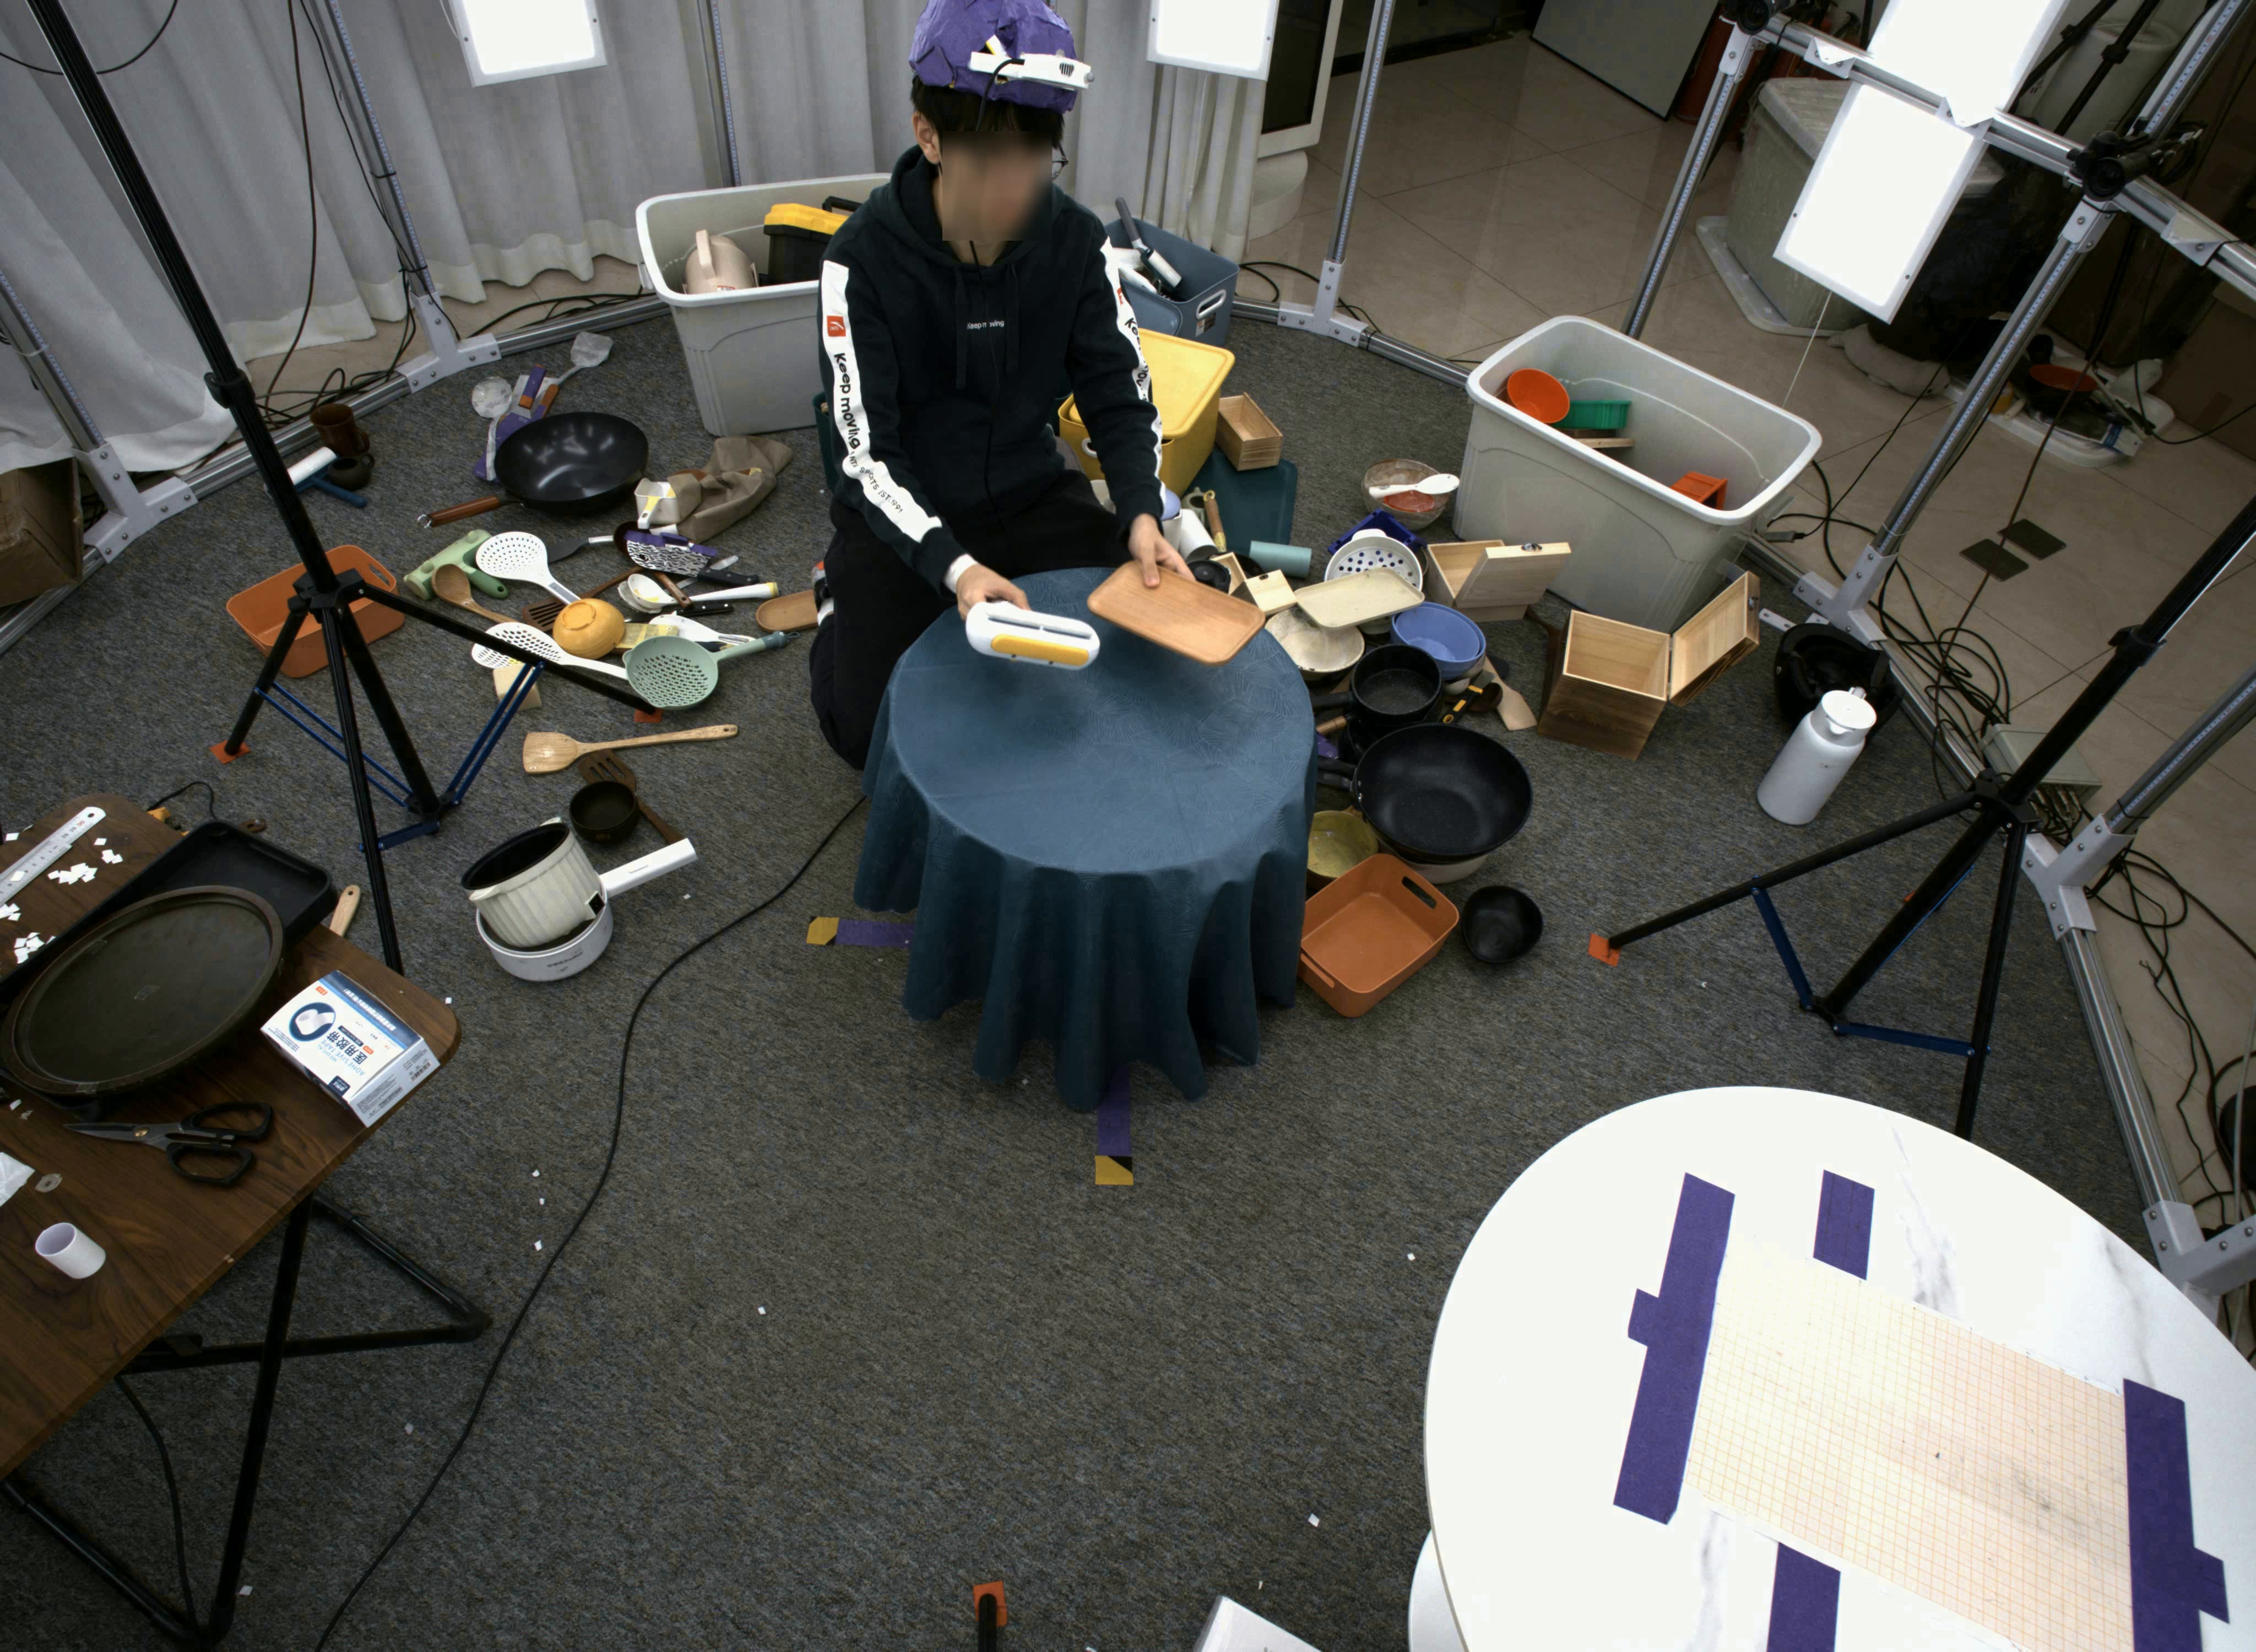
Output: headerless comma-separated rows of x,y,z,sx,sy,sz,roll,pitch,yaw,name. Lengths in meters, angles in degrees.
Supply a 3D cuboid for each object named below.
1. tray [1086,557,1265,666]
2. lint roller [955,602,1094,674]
0.066,-0.303,1.809,0.254,0.022,0.132,29,58,30,tray
-0.160,-0.271,1.779,0.191,0.073,0.196,7,22,-25,lint roller
